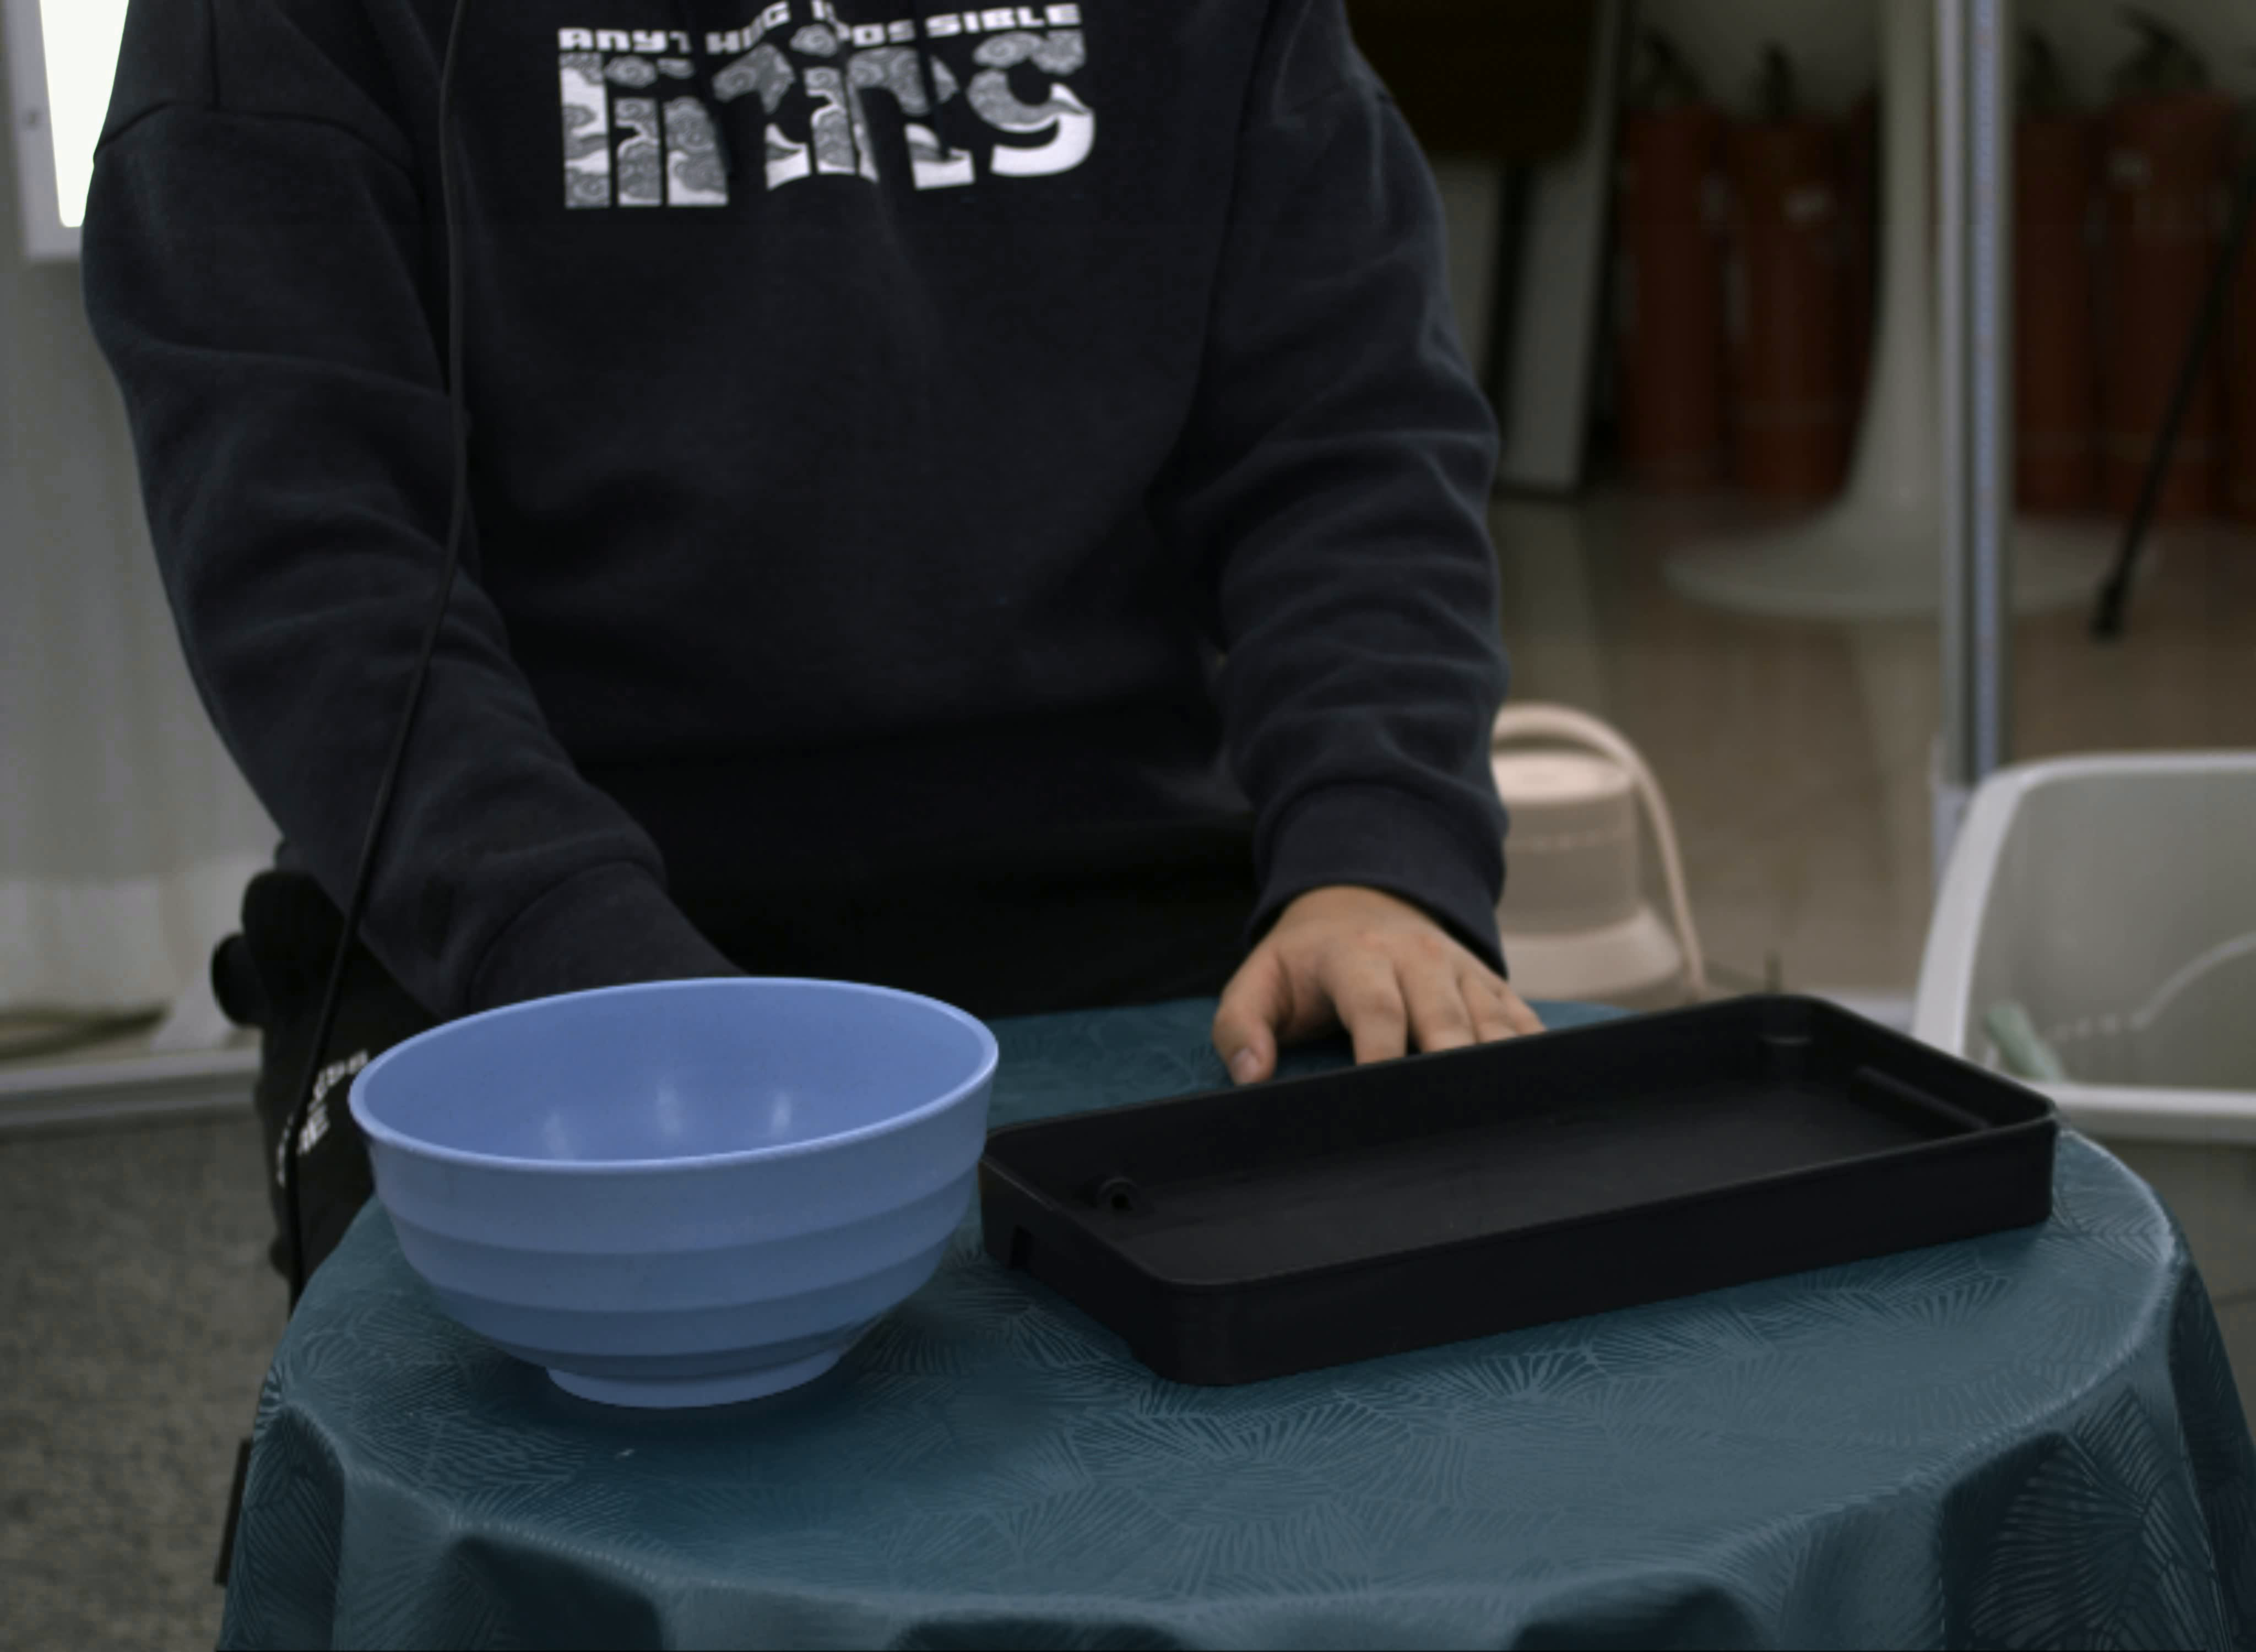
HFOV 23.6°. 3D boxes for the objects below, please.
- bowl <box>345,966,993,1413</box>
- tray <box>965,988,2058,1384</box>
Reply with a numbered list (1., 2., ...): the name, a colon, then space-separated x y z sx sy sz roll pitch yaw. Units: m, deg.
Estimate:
1. bowl: -0.133 0.115 1.628 0.194 0.096 0.197 -6 15 1
2. tray: 0.121 0.110 1.707 0.311 0.037 0.186 -9 14 -21
